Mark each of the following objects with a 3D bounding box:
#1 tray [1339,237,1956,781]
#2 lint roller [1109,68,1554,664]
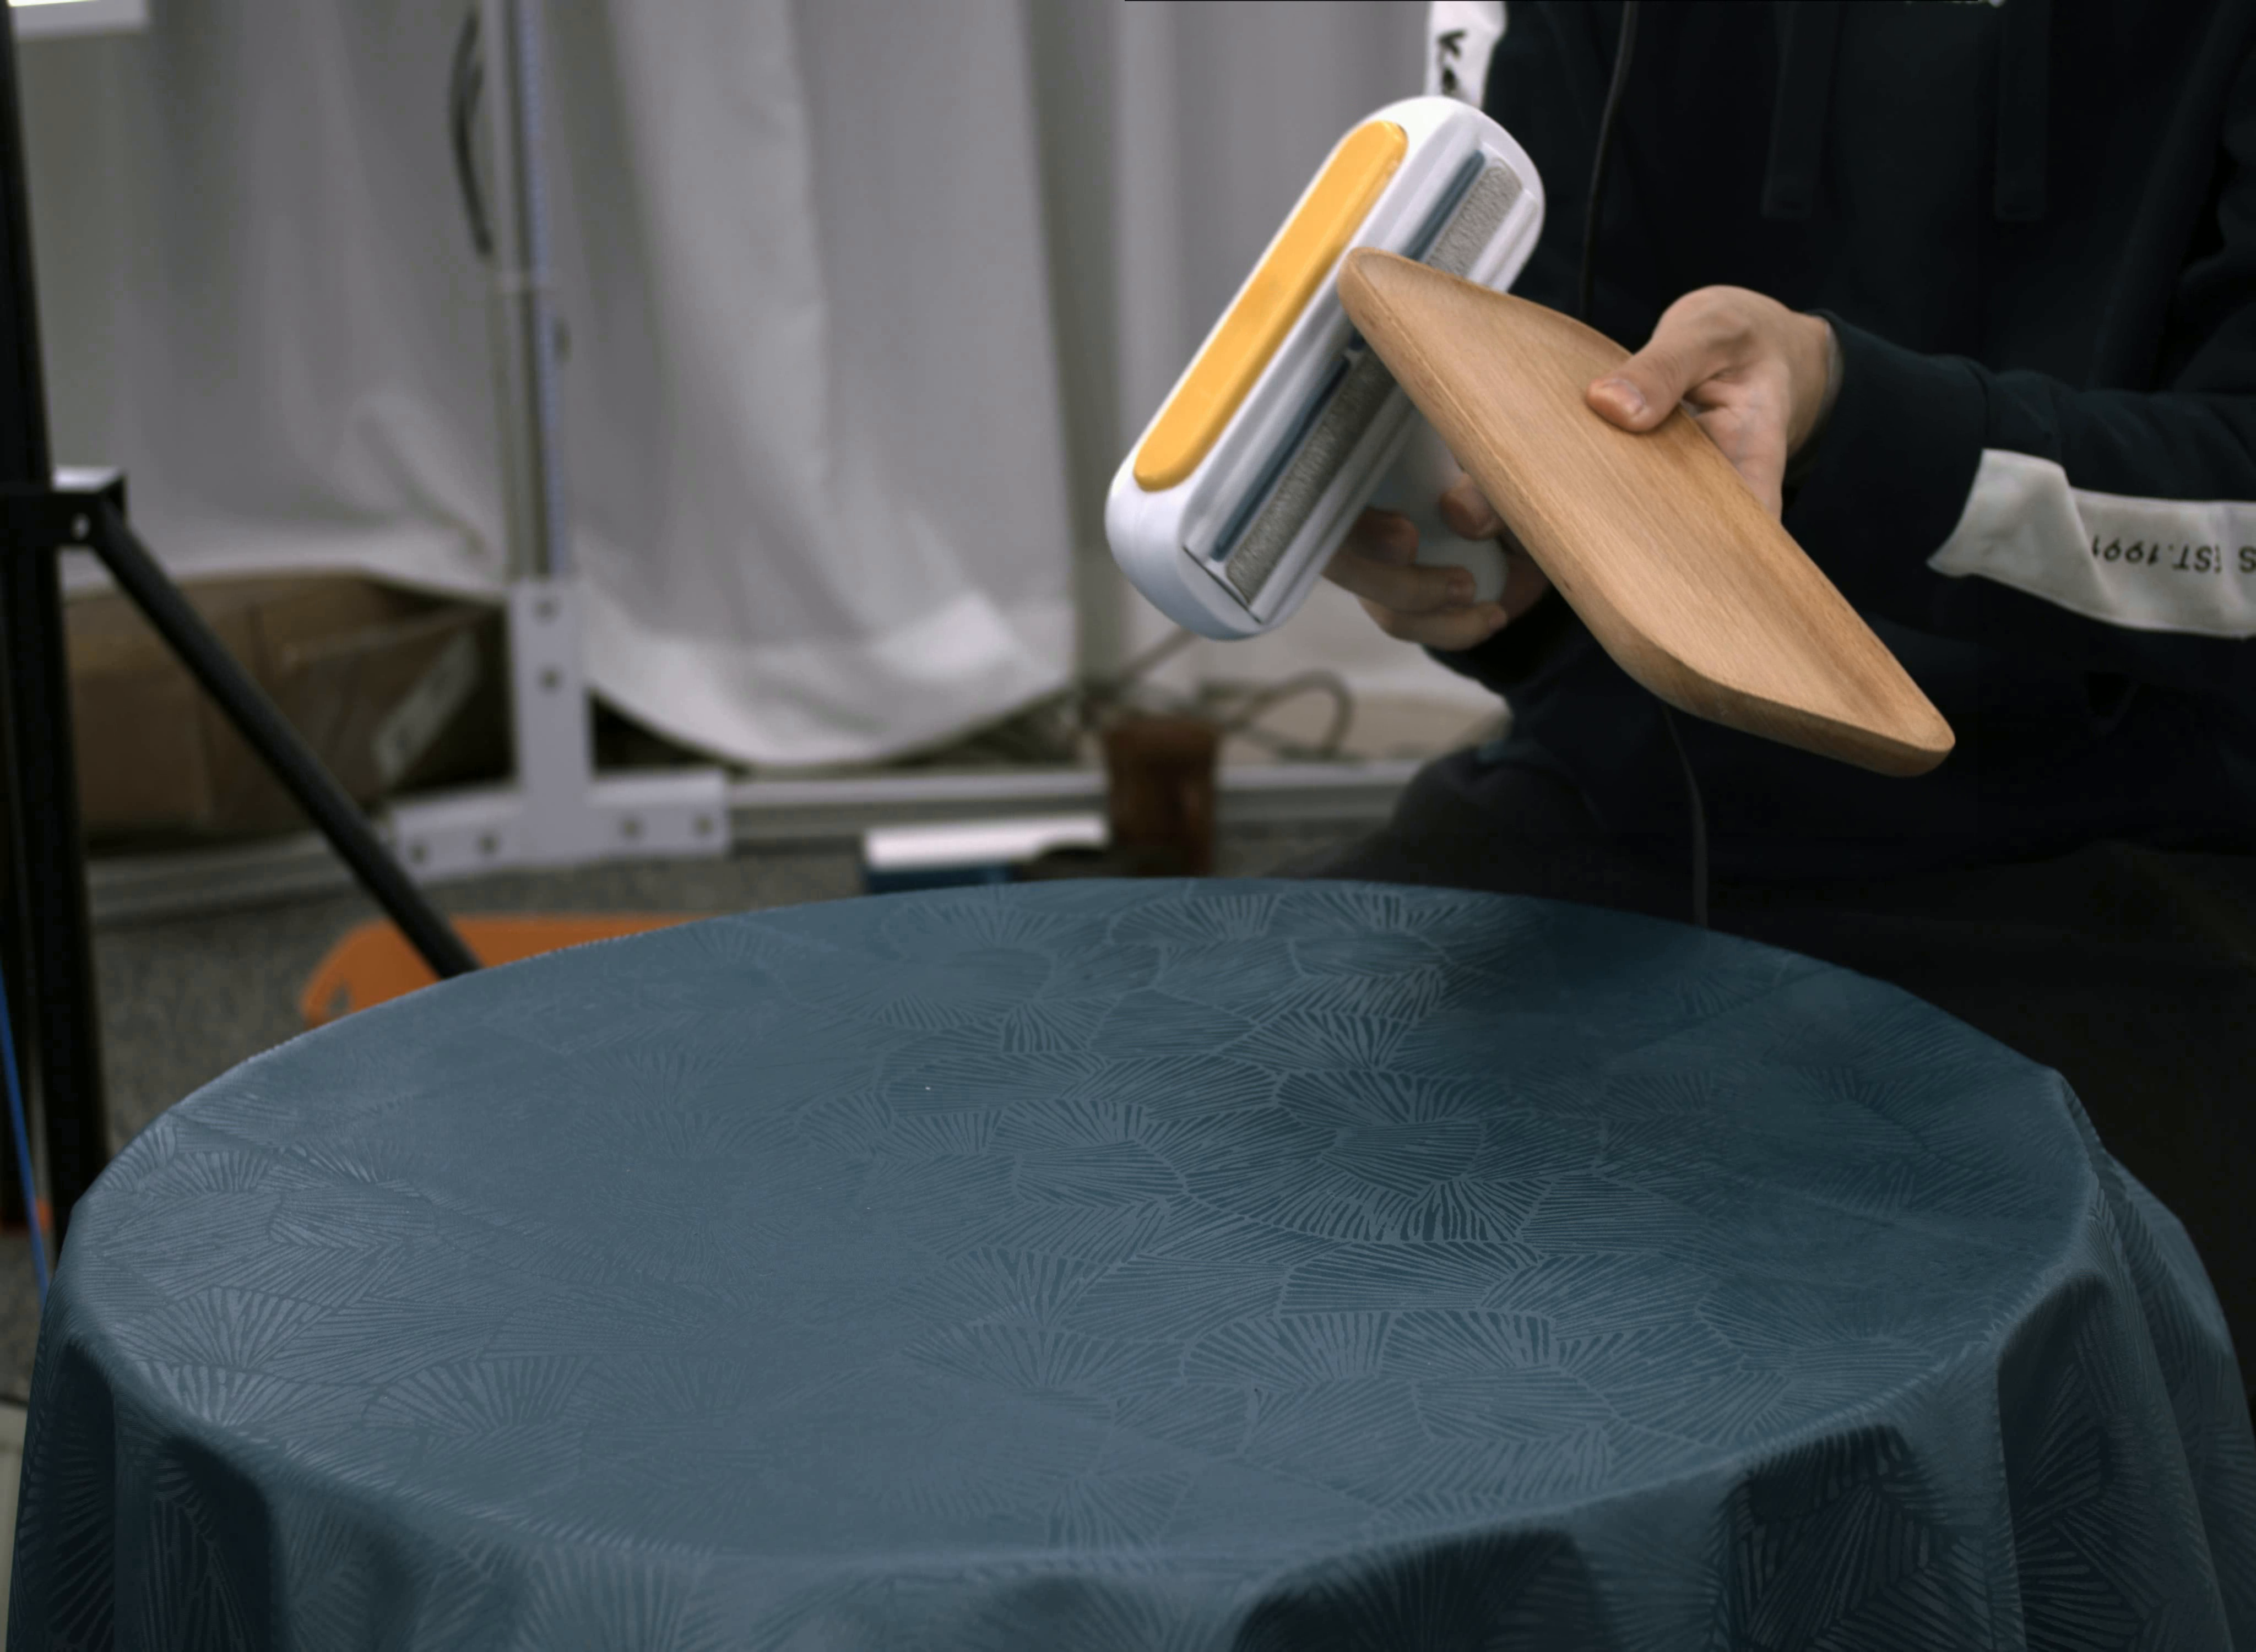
[{"bbox_3d":[0.151,-0.096,1.593,0.127,0.023,0.256,19,25,-33],"label":"tray"},{"bbox_3d":[0.087,-0.121,1.736,0.076,0.188,0.192,12,62,45],"label":"lint roller"}]
